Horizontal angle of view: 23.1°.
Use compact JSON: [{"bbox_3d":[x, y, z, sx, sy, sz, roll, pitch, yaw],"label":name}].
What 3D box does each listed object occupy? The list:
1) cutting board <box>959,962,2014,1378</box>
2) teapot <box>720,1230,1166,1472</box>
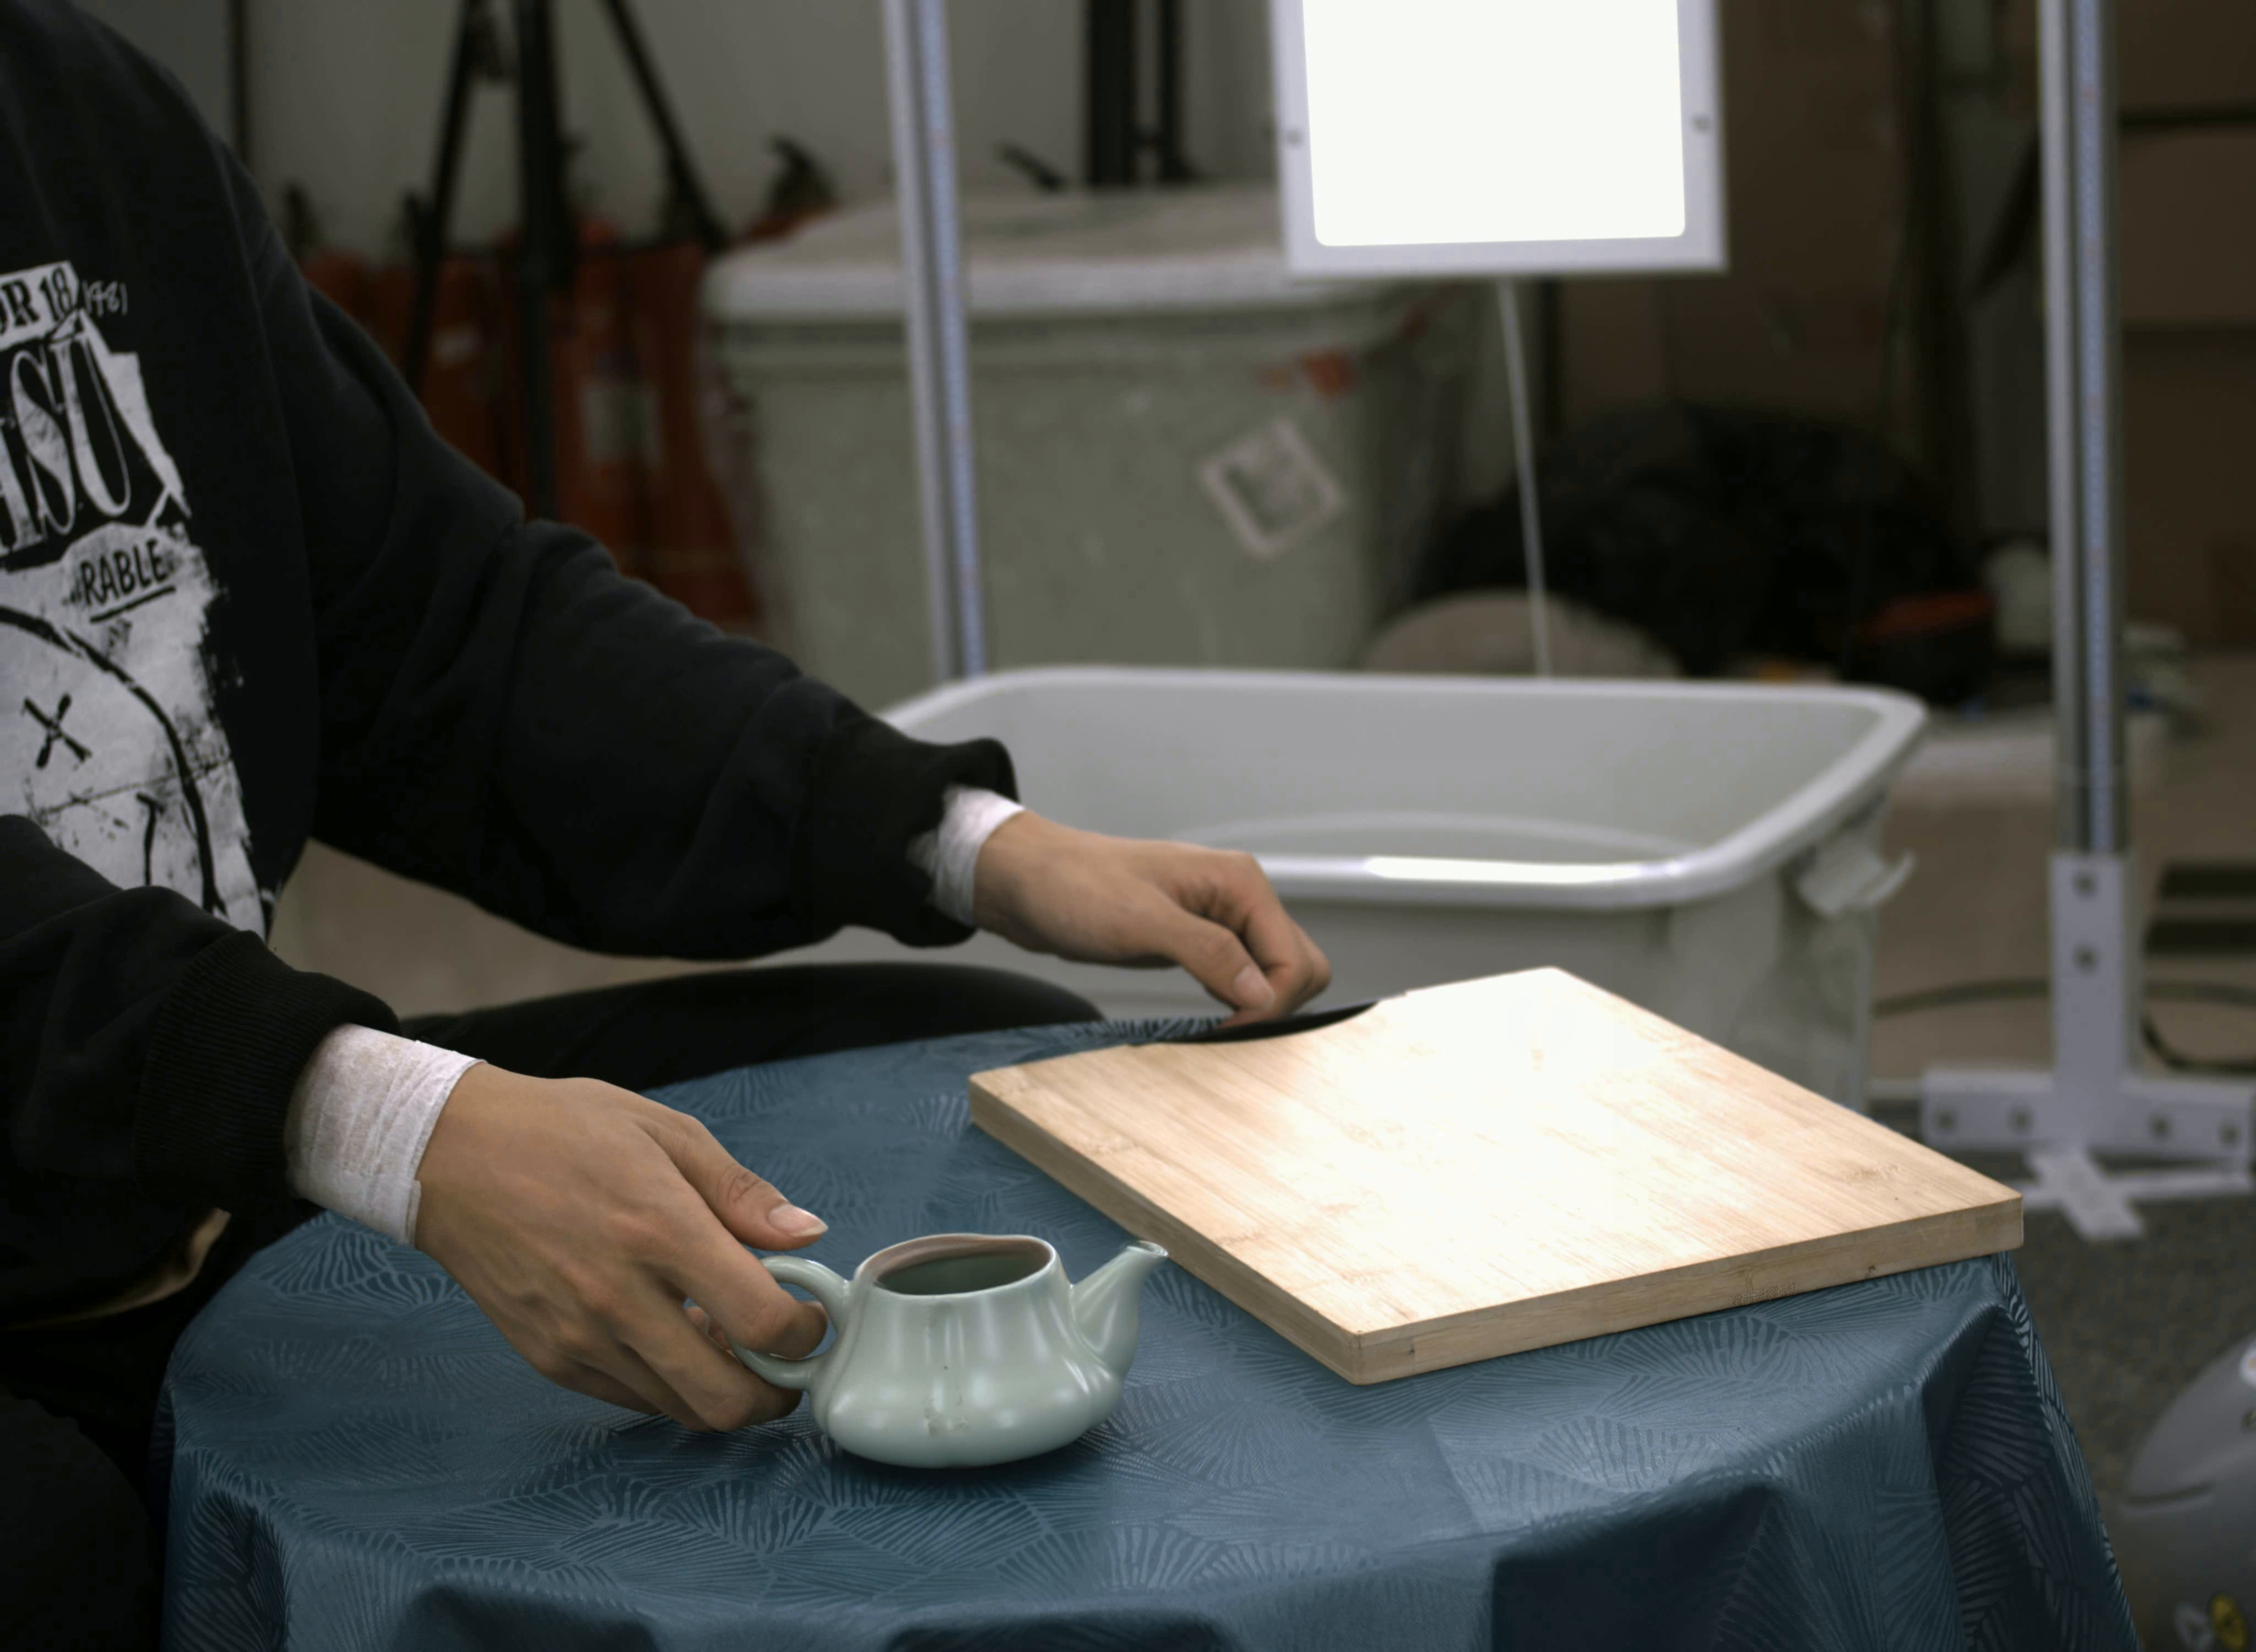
[{"bbox_3d":[0.114,0.112,1.882,0.246,0.023,0.353,-10,15,-21],"label":"cutting board"},{"bbox_3d":[-0.054,0.158,1.666,0.137,0.061,0.096,-4,15,4],"label":"teapot"}]
